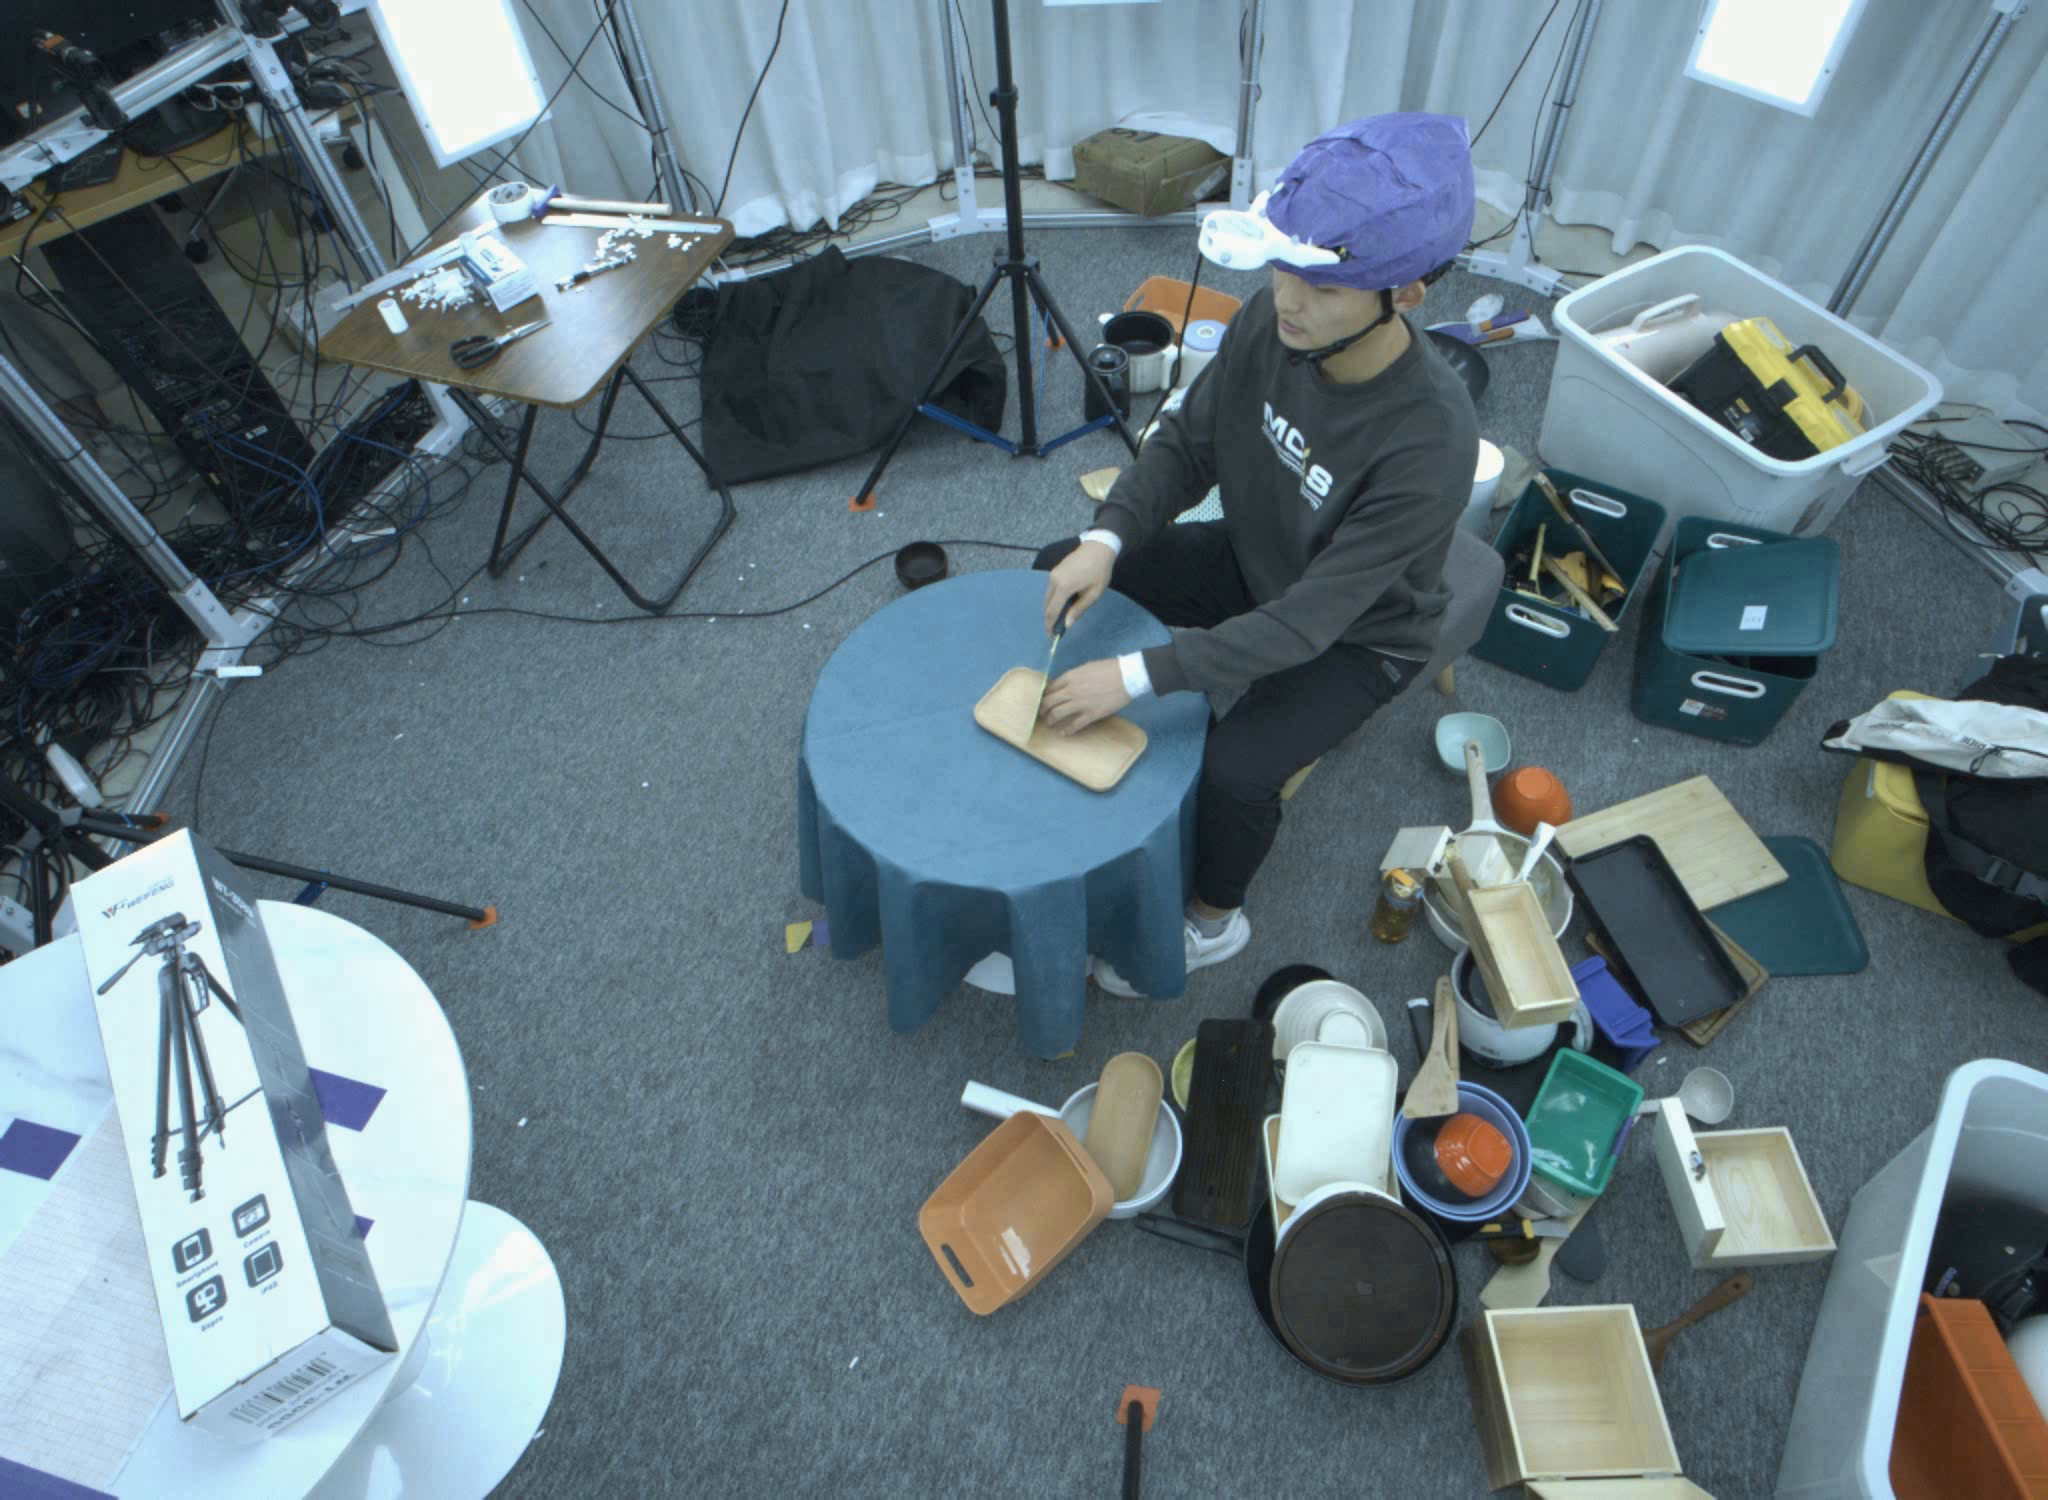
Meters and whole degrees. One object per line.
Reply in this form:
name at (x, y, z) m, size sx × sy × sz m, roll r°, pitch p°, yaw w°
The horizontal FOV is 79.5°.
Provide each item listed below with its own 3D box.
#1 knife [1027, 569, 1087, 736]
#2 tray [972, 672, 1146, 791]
knife at (0.045, -0.146, 1.830) m, size 0.027 × 0.081 × 0.288 m, roll 19°, pitch 66°, yaw -2°
tray at (0.050, -0.029, 1.810) m, size 0.246 × 0.023 × 0.131 m, roll 28°, pitch 56°, yaw 24°
